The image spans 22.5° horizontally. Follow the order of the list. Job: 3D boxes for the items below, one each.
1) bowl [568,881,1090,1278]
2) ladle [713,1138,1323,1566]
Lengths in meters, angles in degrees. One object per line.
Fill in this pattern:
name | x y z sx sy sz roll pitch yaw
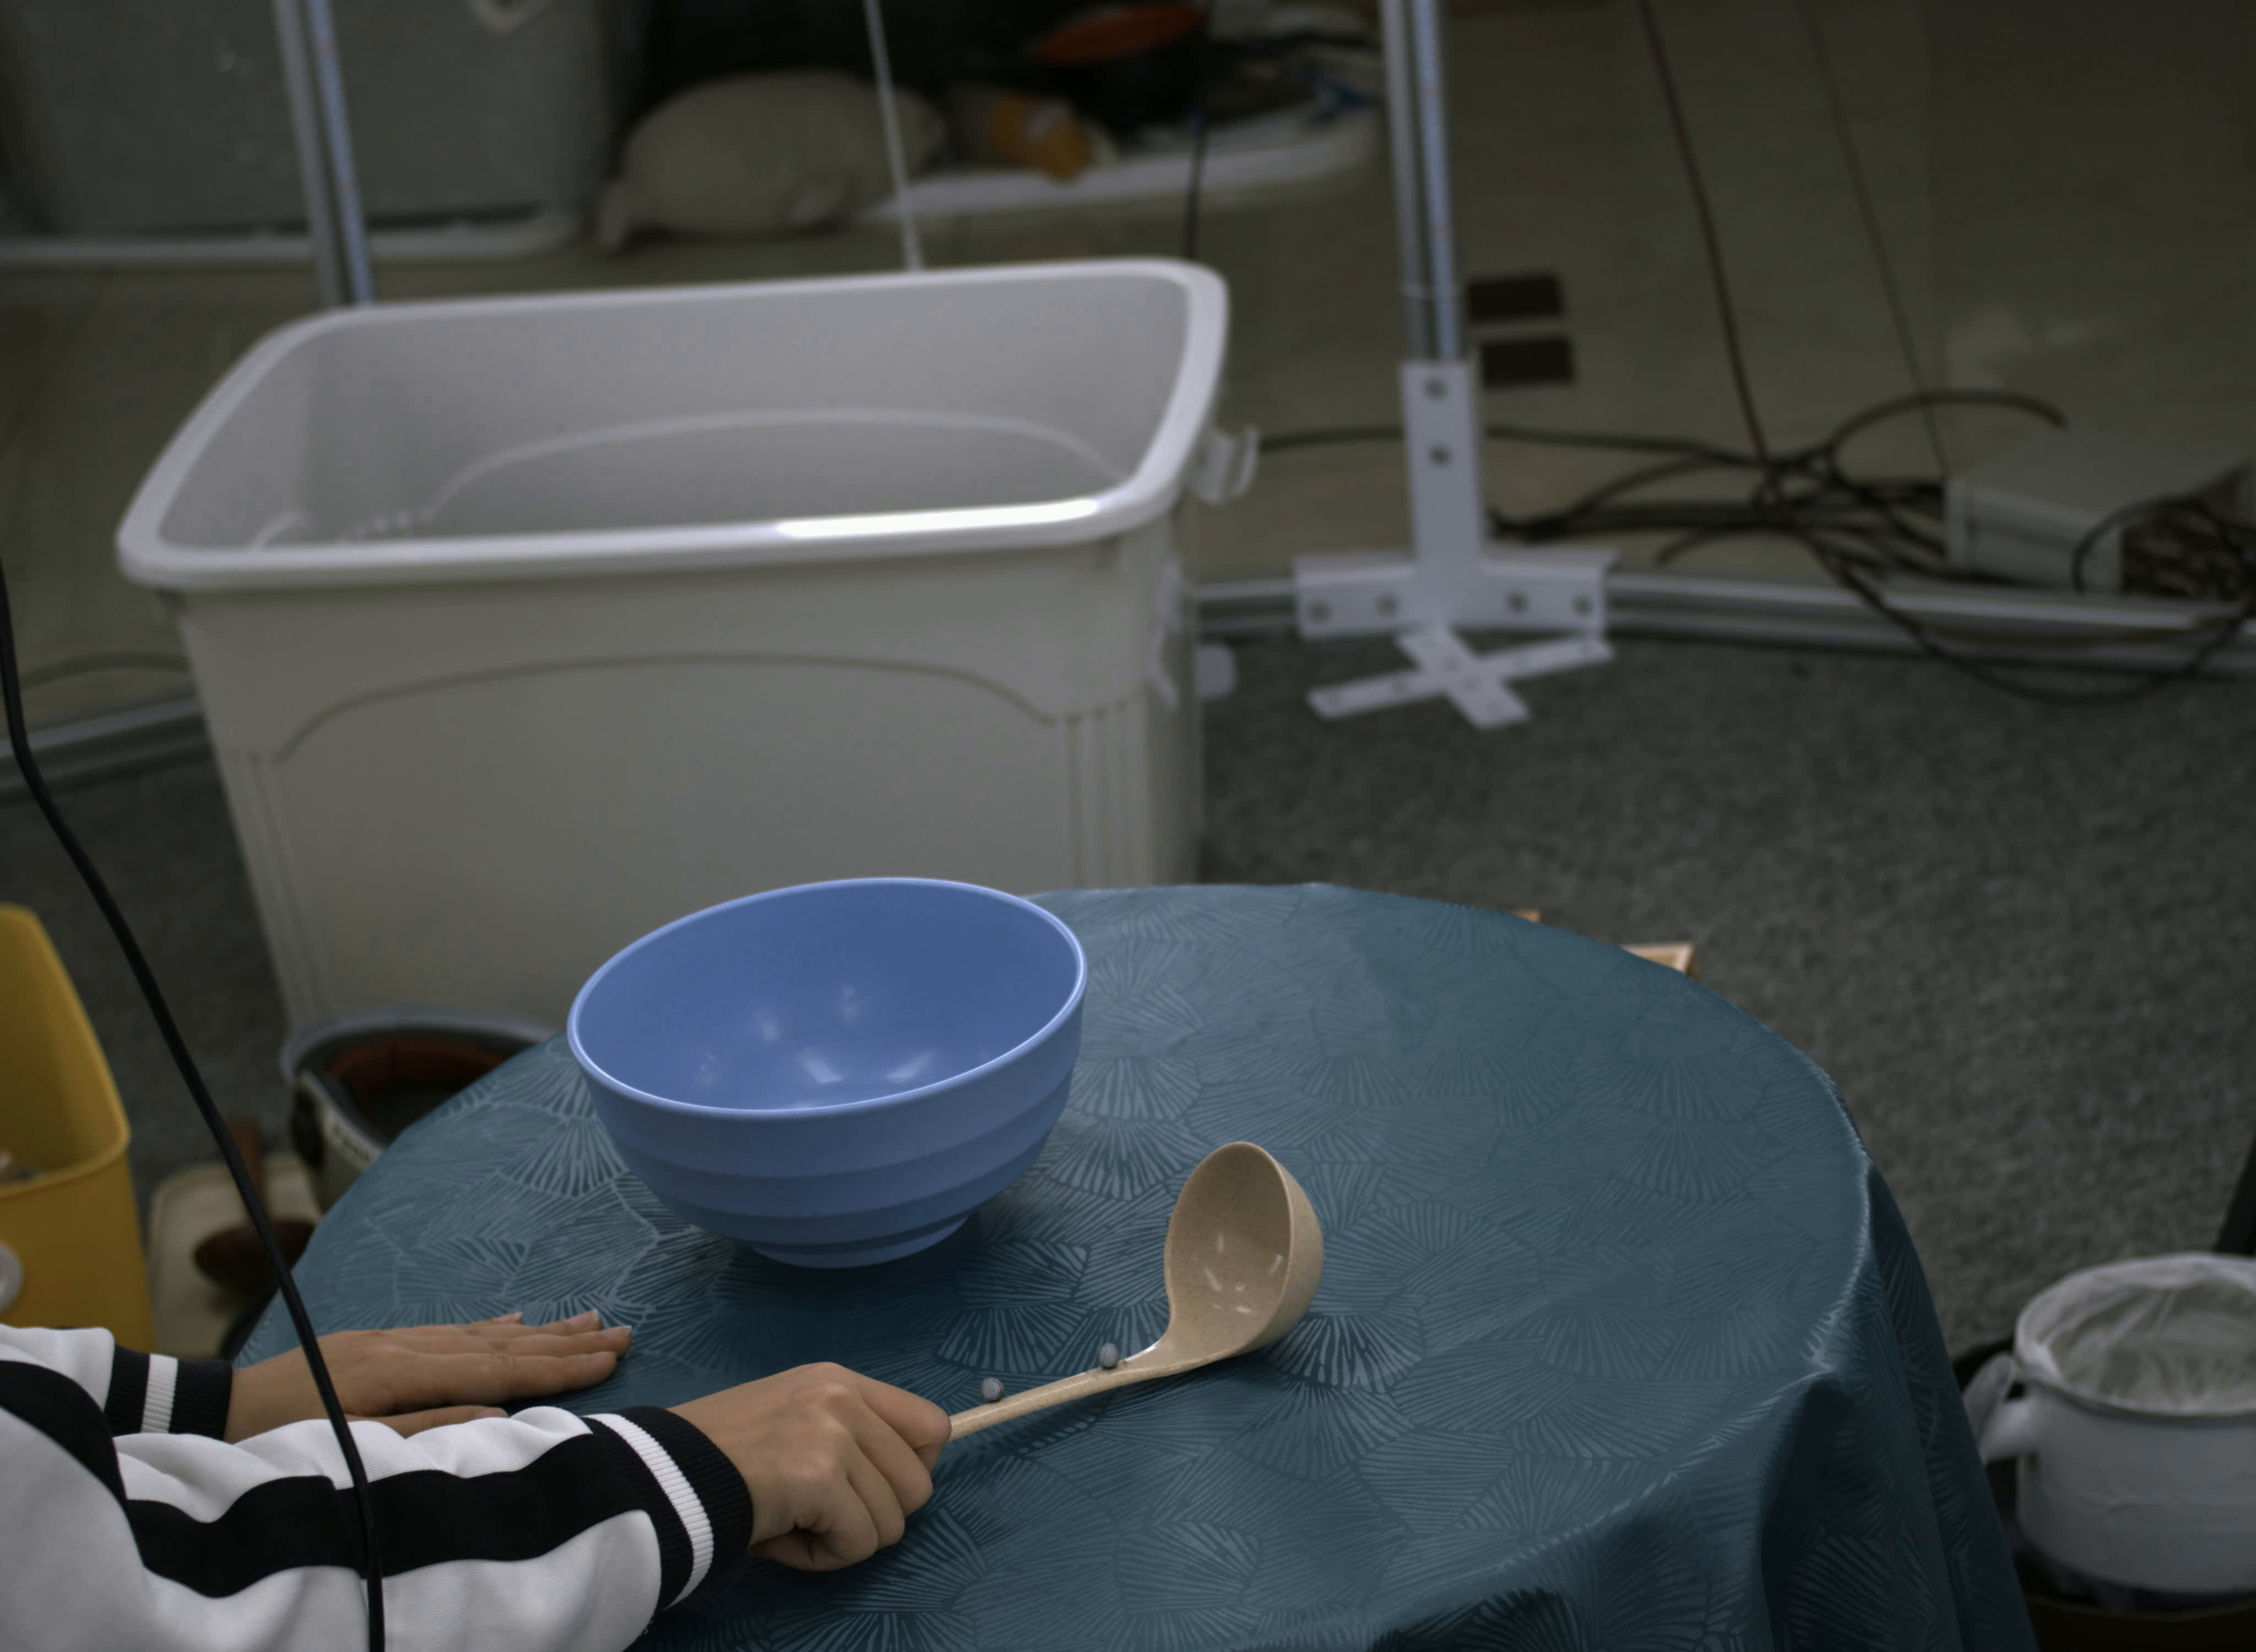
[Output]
bowl | -0.108 0.107 2.139 0.196 0.097 0.193 -5 27 2
ladle | -0.042 0.179 1.976 0.253 0.074 0.071 -20 25 -31
